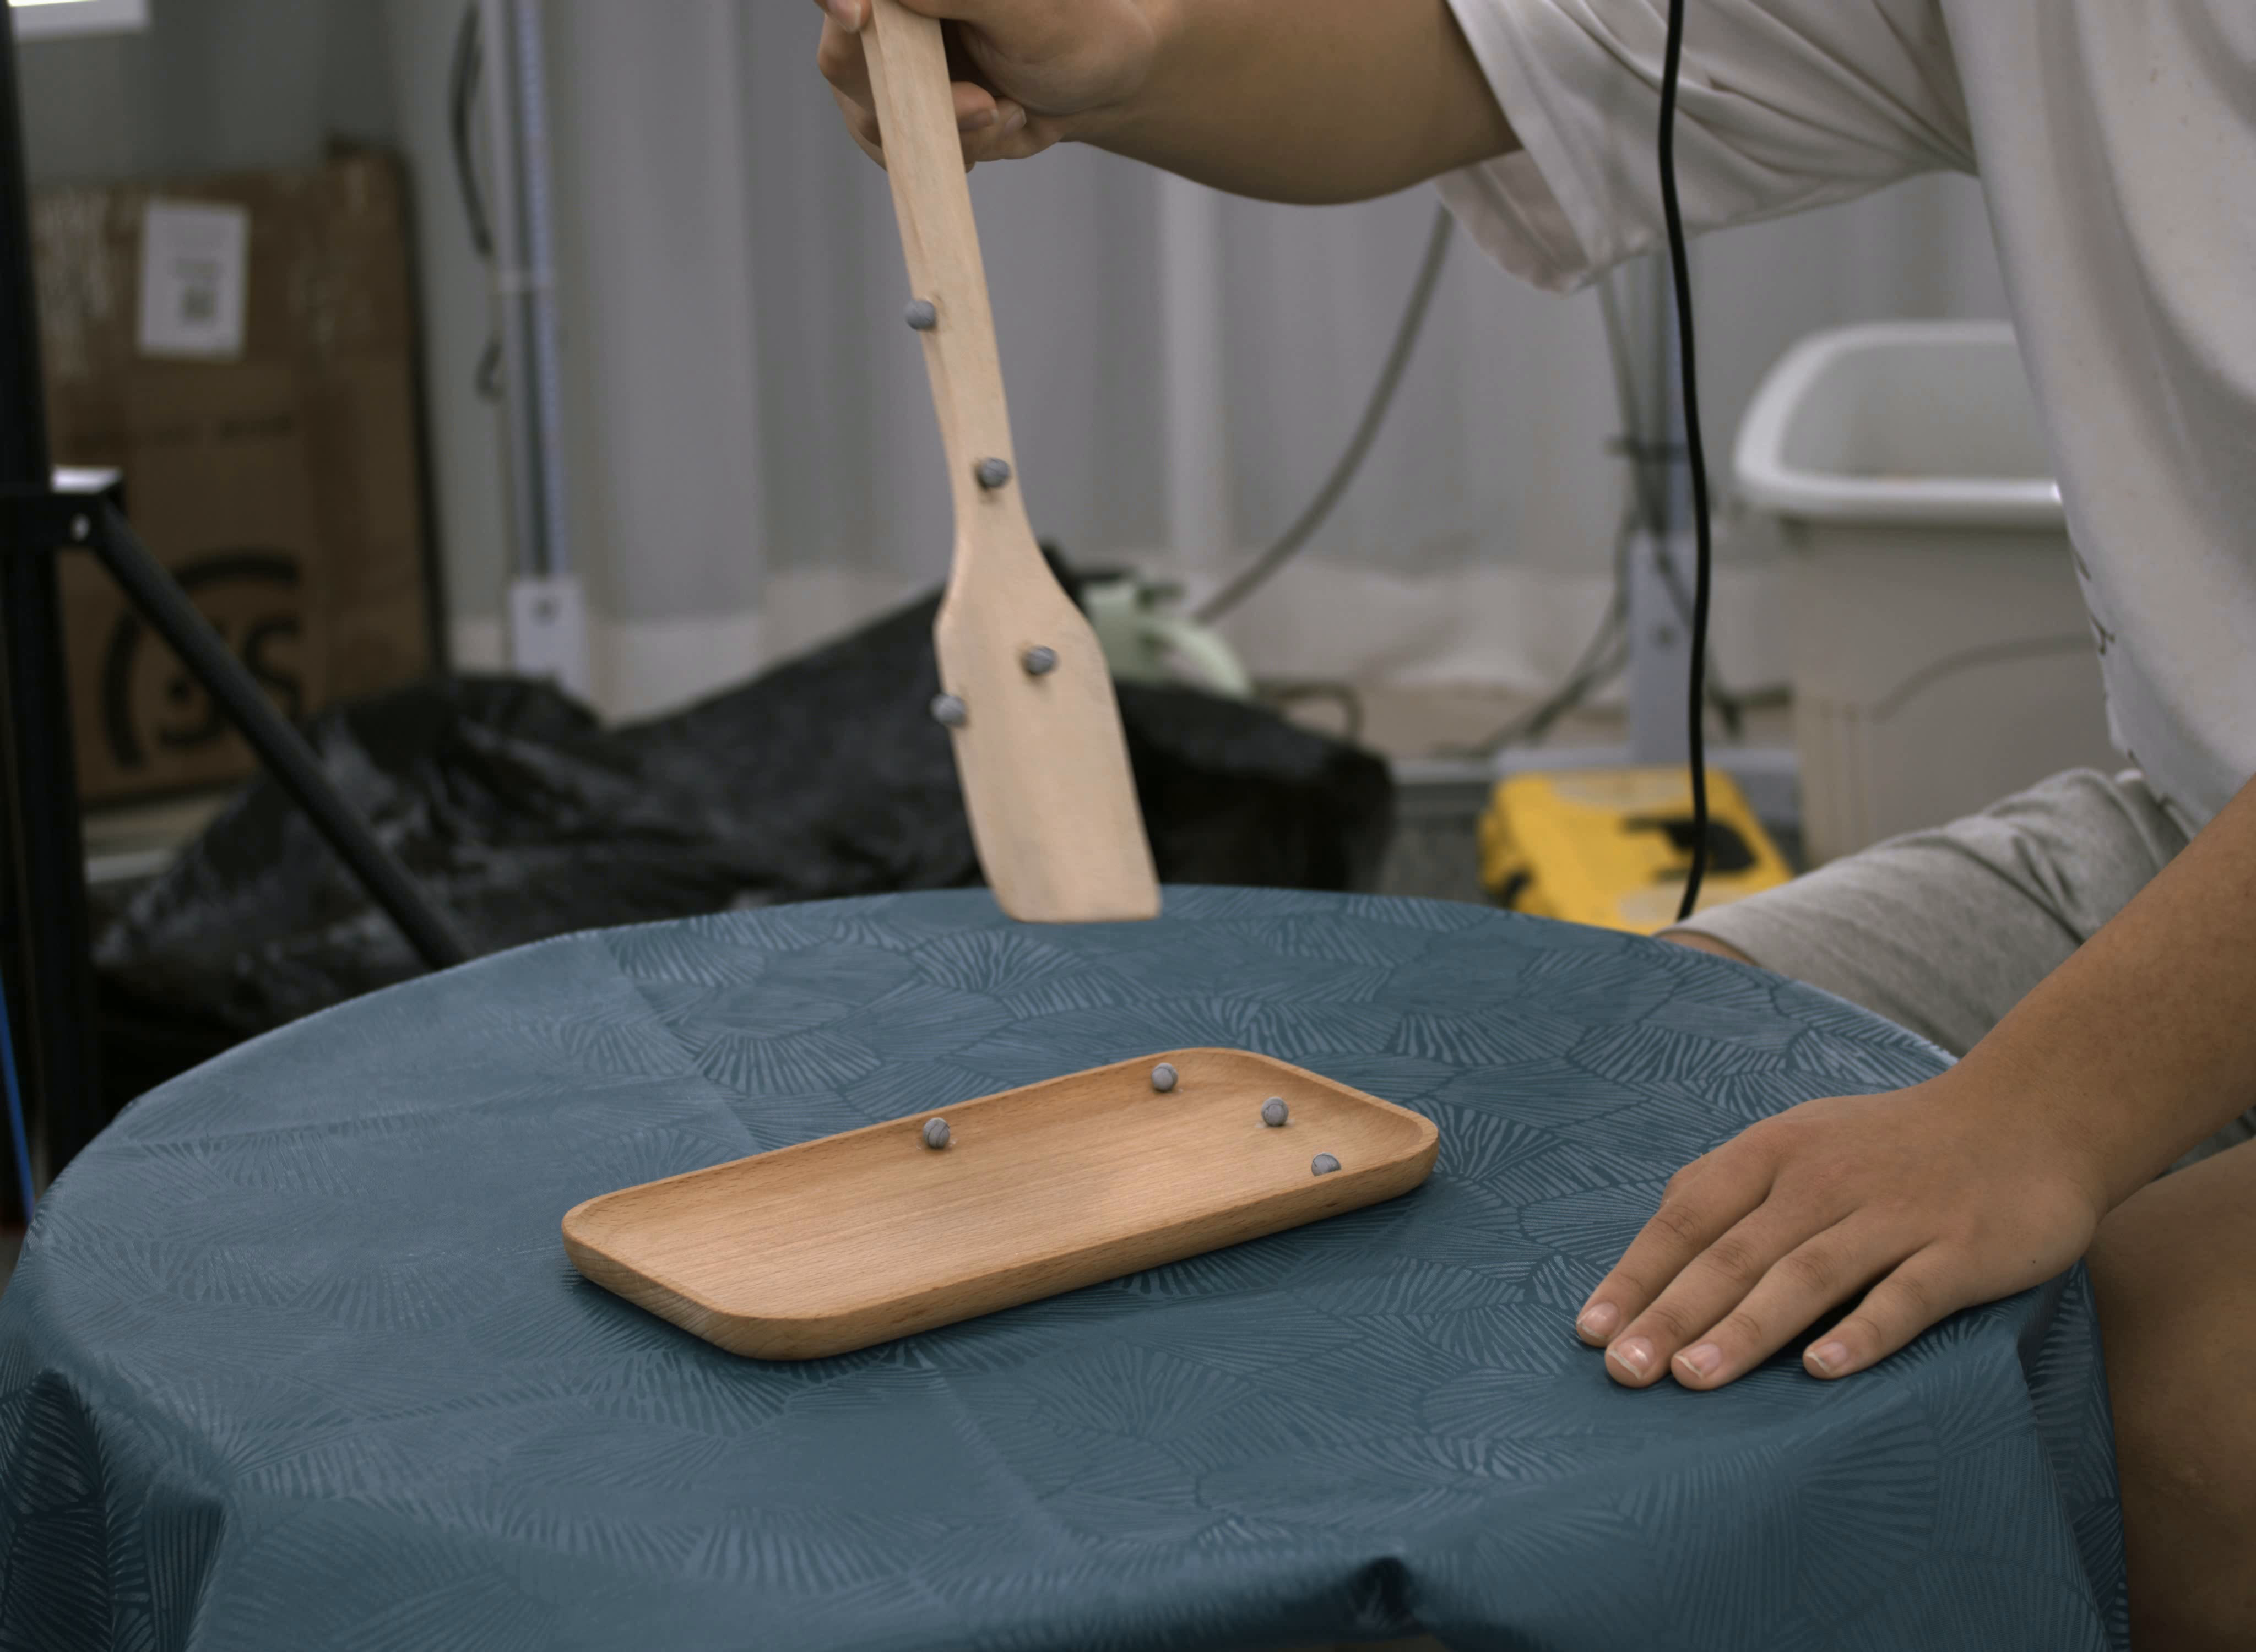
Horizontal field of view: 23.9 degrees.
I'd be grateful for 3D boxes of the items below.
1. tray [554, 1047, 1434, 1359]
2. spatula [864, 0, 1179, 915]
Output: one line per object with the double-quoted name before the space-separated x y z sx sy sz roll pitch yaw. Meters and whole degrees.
"tray" -0.036 0.107 1.538 0.245 0.023 0.133 -13 17 -32
"spatula" -0.039 -0.118 1.473 0.011 0.295 0.070 -19 -10 38
